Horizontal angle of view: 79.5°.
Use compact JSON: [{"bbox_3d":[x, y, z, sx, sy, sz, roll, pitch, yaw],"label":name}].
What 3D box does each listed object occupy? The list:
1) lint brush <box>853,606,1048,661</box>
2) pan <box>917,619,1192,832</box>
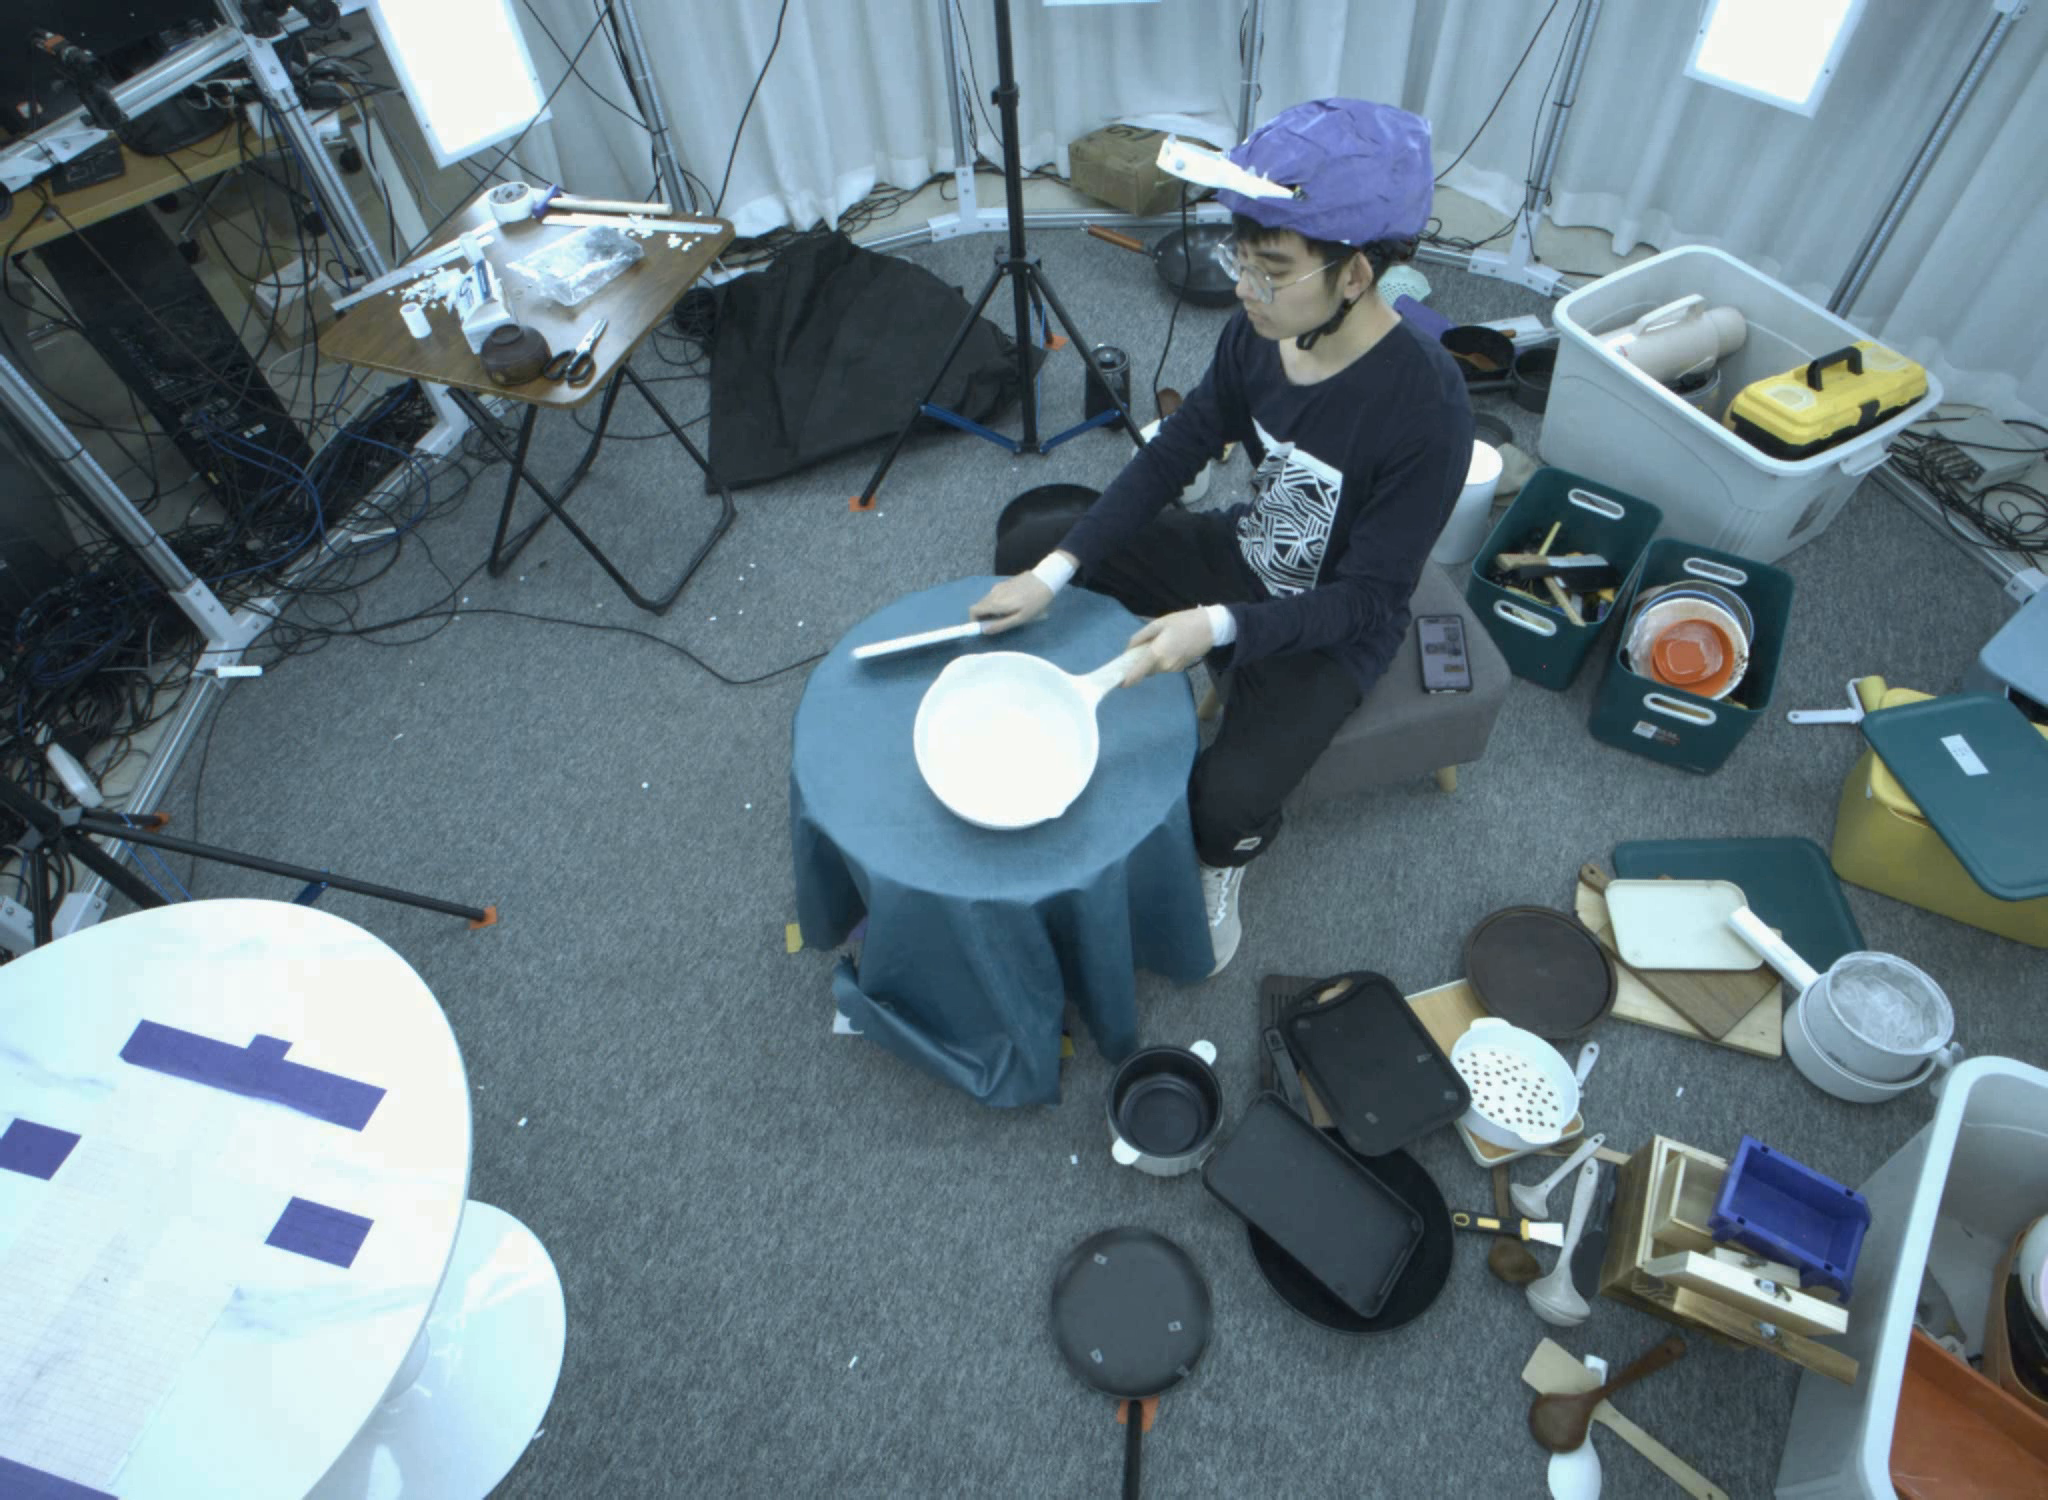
[{"bbox_3d":[-0.113,-0.180,1.889,0.311,0.059,0.021,-14,93,-9],"label":"lint brush"},{"bbox_3d":[0.054,-0.051,1.733,0.438,0.102,0.260,-31,75,-15],"label":"pan"}]
